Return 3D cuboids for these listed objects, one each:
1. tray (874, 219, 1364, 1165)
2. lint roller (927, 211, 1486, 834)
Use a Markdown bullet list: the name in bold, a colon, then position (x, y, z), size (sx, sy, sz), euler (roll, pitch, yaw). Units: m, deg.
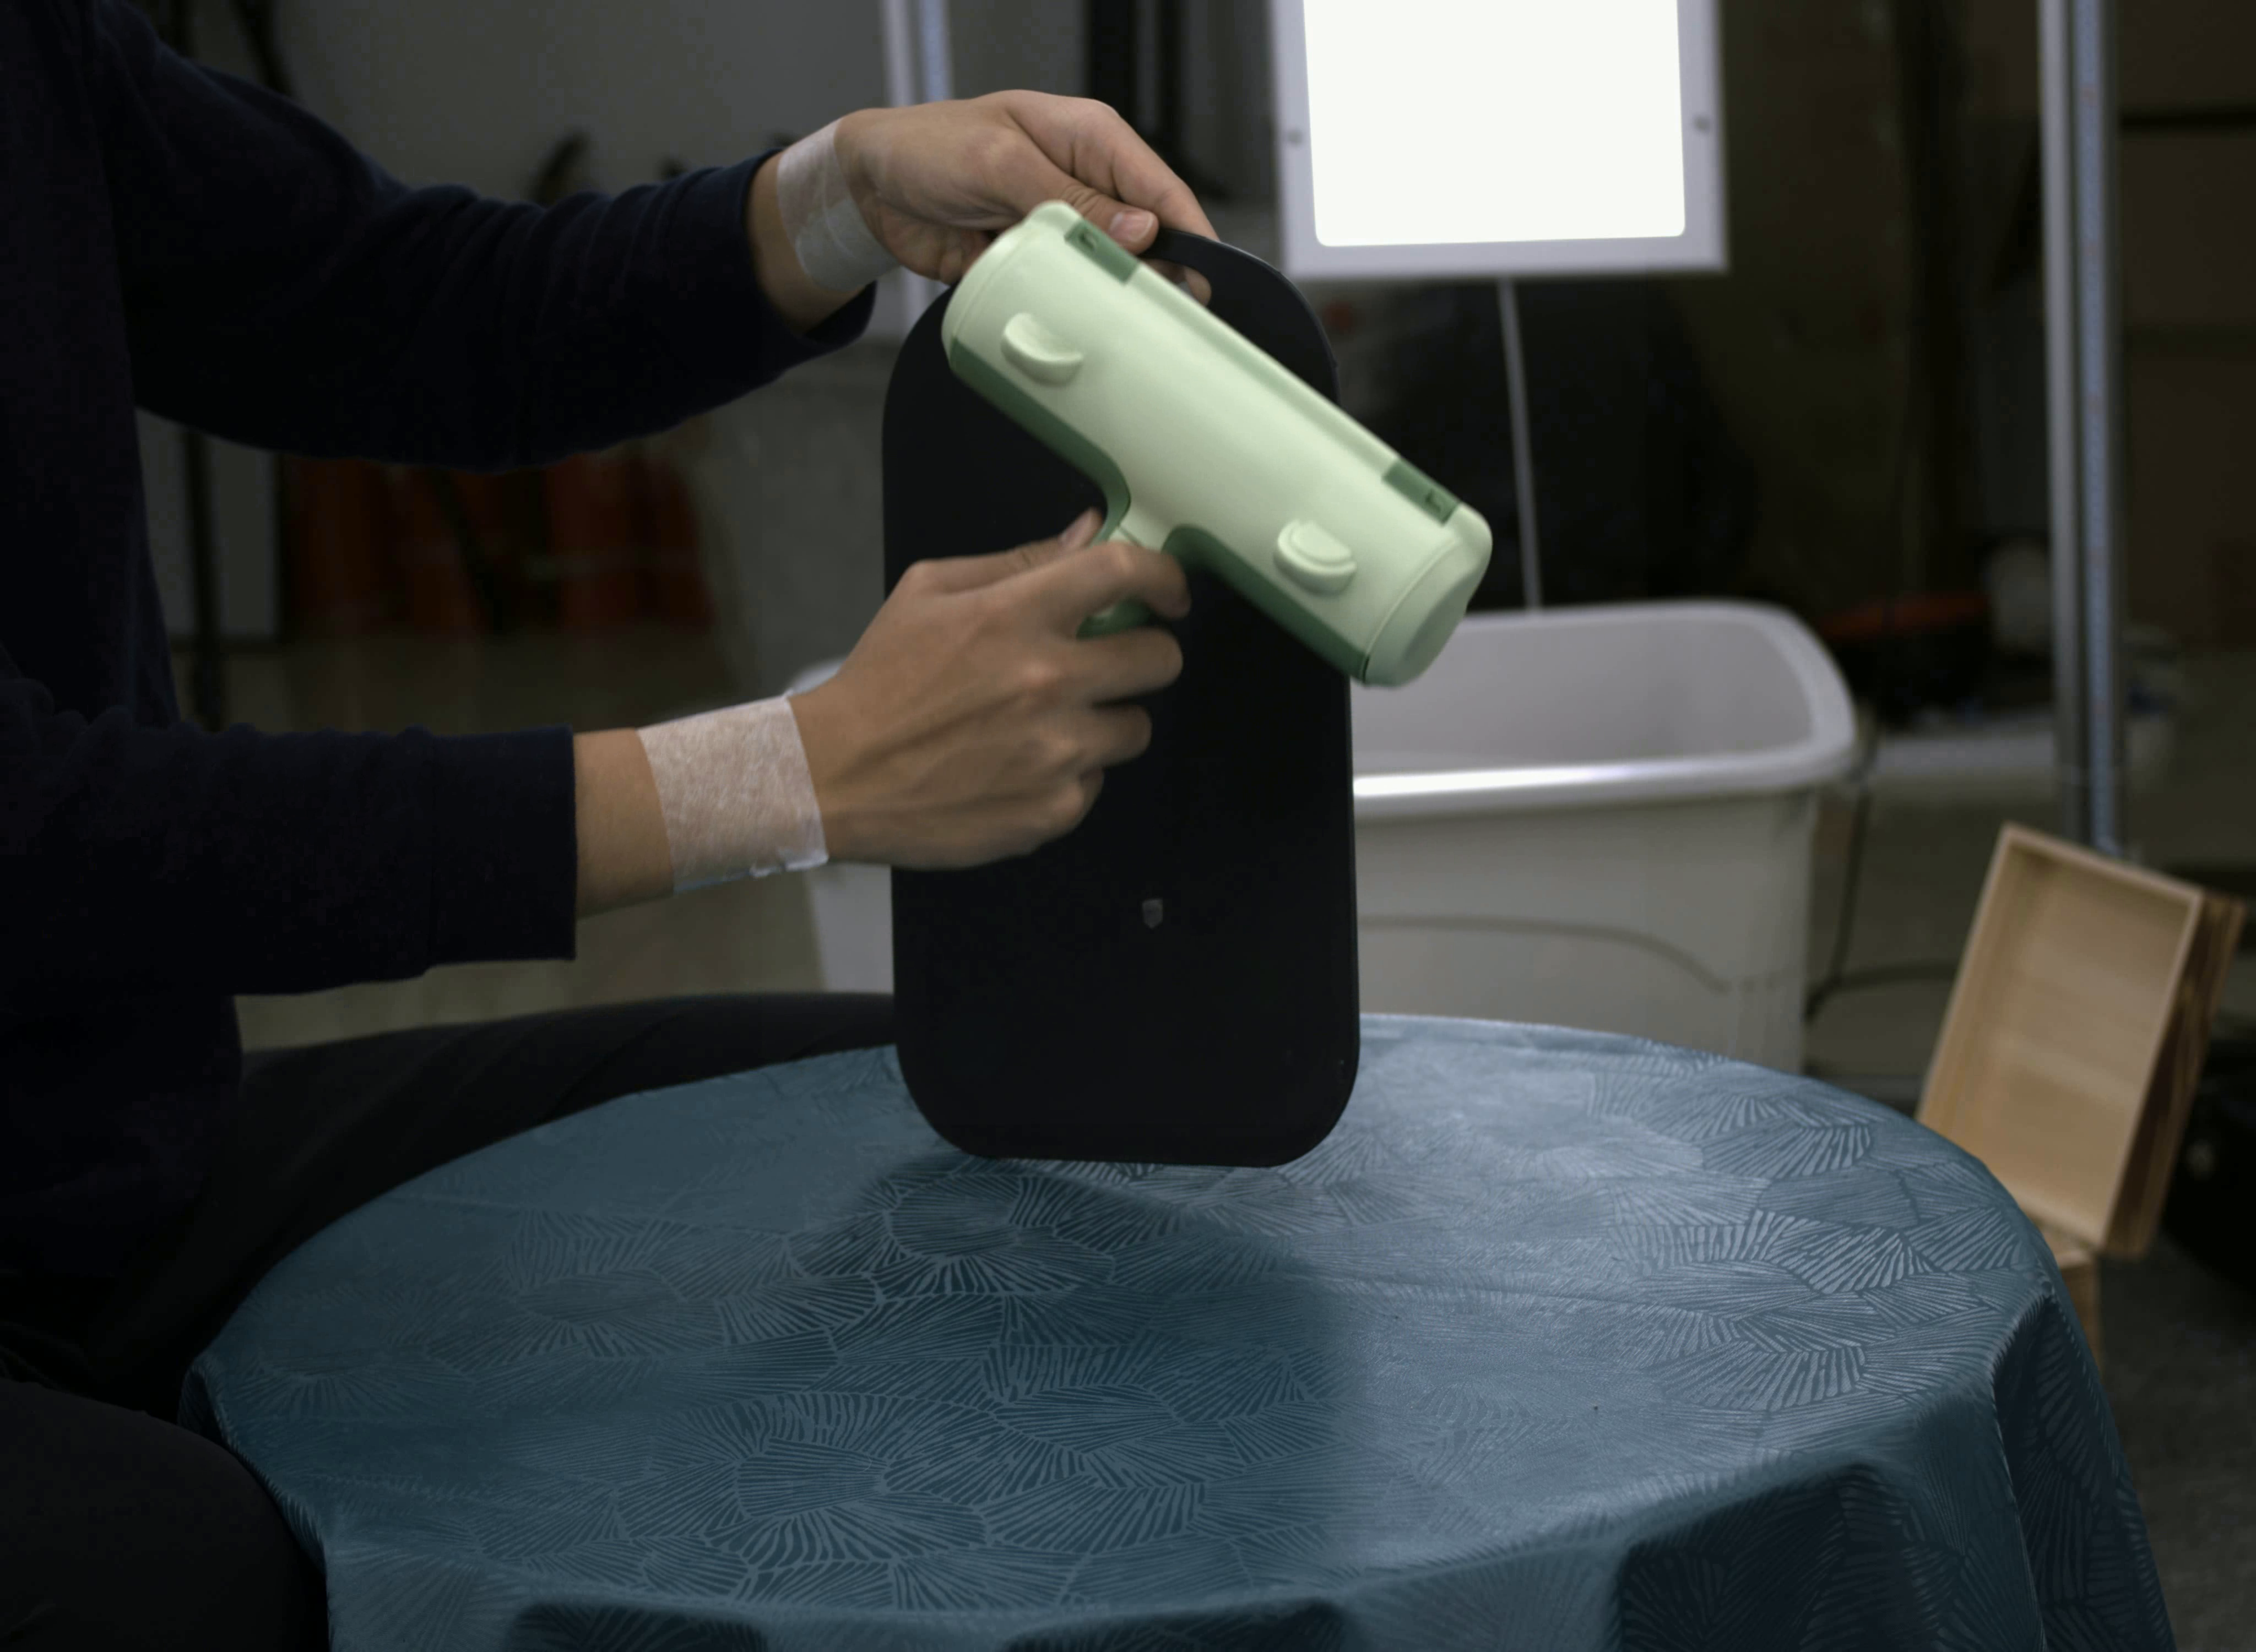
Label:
- **tray**: position (-0.005, -0.046, 1.904), size (0.216, 0.326, 0.009), euler (-2, 1, 41)
- **lint roller**: position (-0.011, -0.077, 1.783), size (0.200, 0.183, 0.081), euler (38, 0, 18)
